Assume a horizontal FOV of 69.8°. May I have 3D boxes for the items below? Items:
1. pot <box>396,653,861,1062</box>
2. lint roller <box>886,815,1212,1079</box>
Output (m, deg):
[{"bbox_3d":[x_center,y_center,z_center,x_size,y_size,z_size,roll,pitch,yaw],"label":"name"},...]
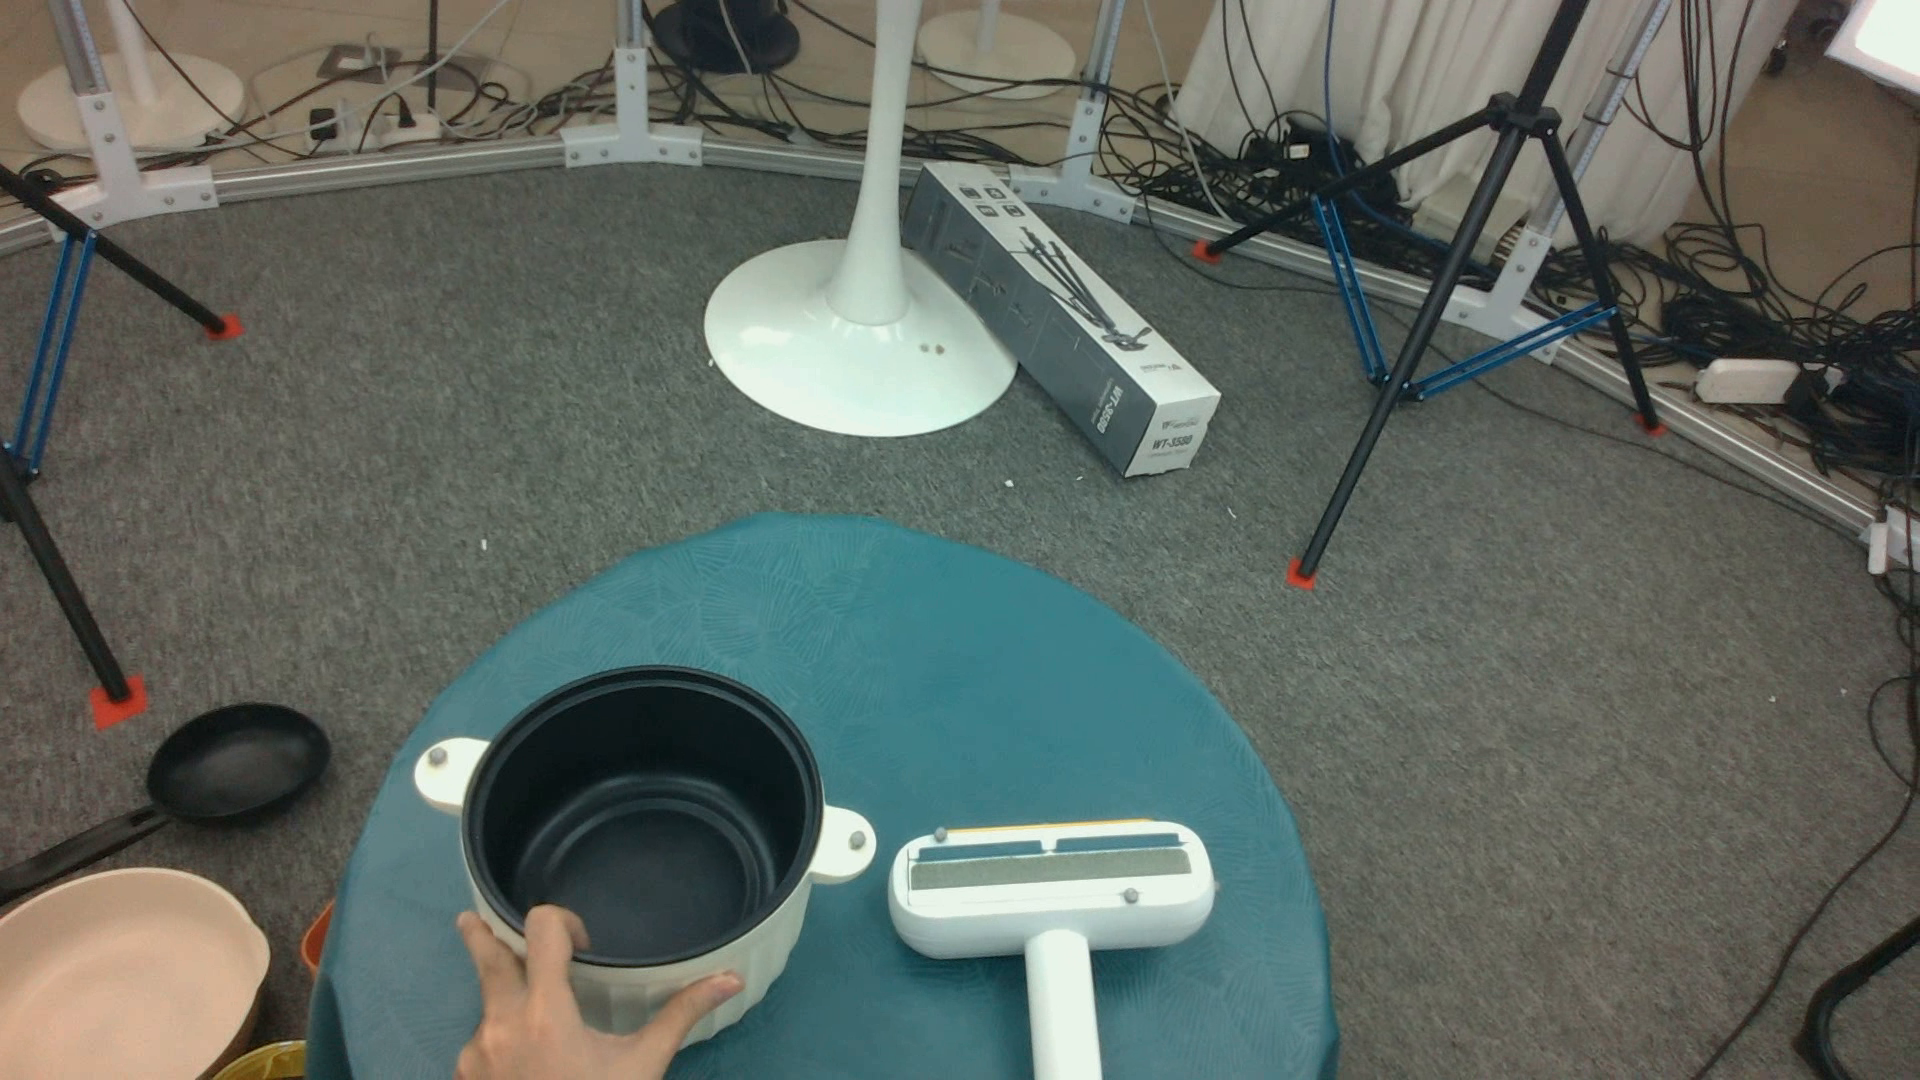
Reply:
[{"bbox_3d":[-0.181,0.170,0.761,0.240,0.142,0.191,11,47,-3],"label":"pot"},{"bbox_3d":[0.052,0.248,0.788,0.193,0.074,0.193,2,47,-3],"label":"lint roller"}]
